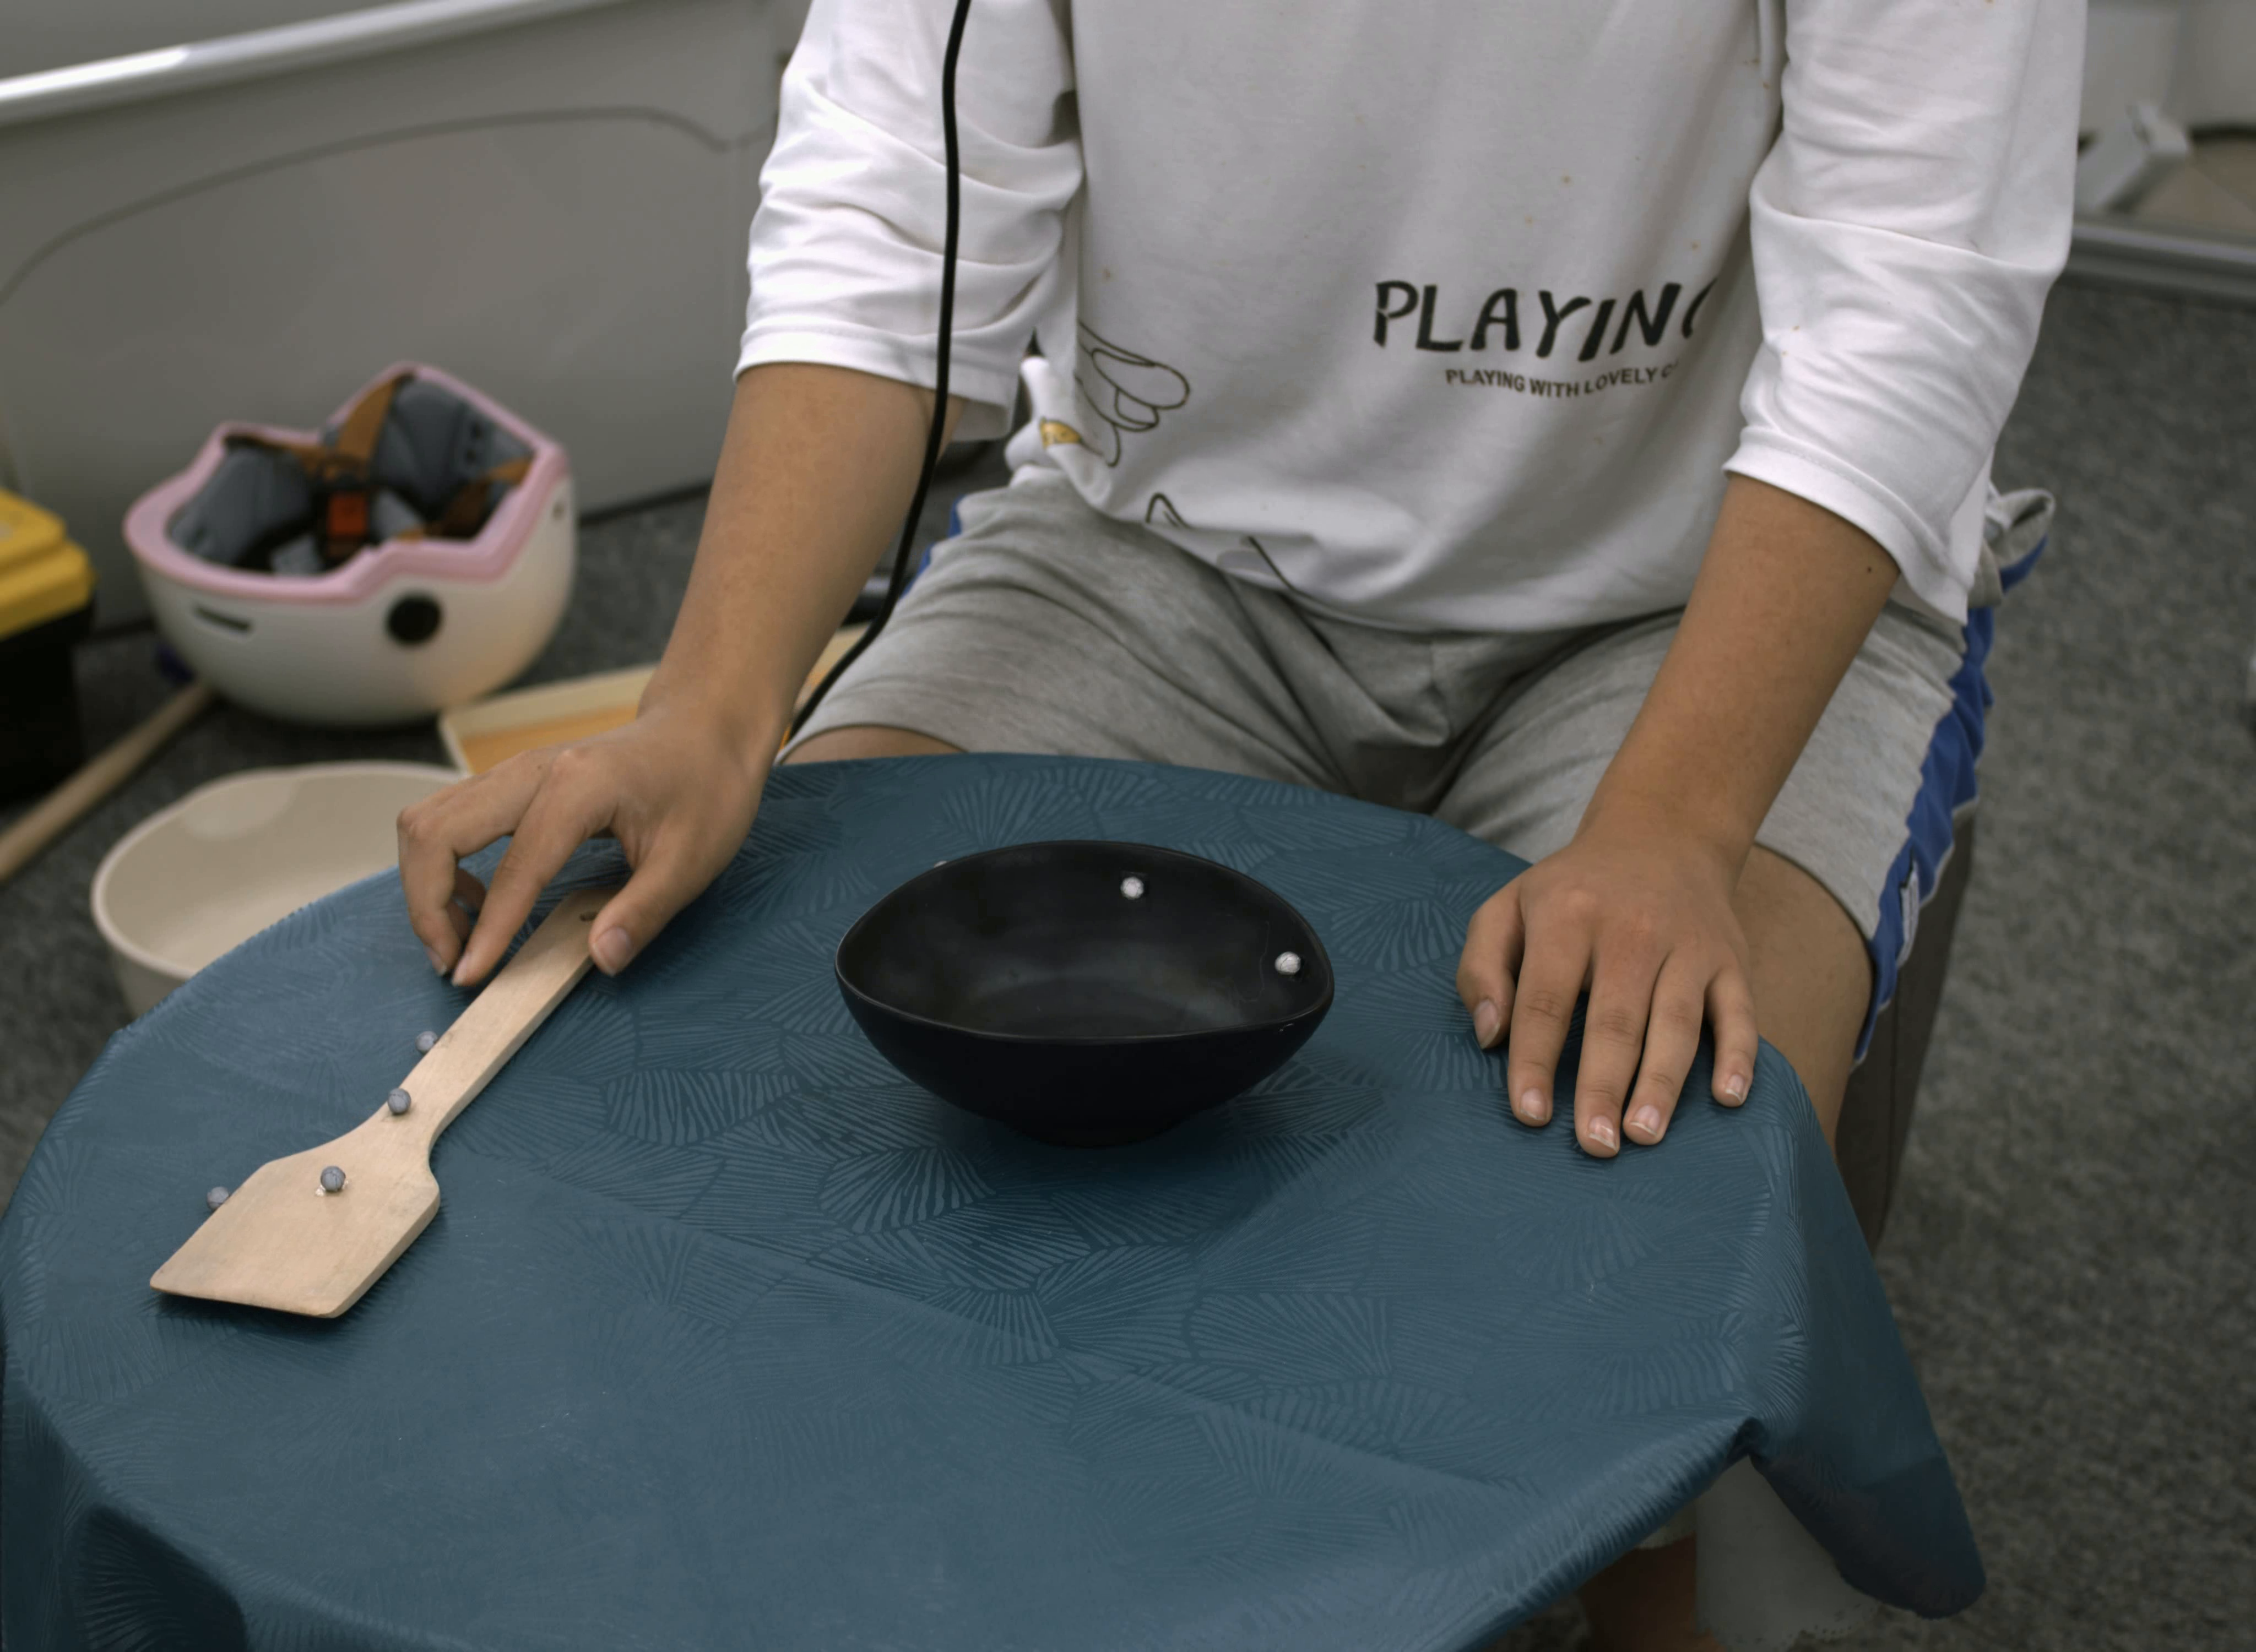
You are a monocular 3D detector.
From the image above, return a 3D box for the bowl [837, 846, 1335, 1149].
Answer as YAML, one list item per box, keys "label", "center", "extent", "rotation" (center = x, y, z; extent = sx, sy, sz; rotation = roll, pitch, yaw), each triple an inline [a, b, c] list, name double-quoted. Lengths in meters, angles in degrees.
- label: "bowl"
  center: [-0.014, 0.065, 1.907]
  extent: [0.169, 0.066, 0.139]
  rotation: [3, 27, 6]

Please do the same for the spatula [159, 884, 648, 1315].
- label: "spatula"
  center: [-0.236, 0.090, 1.936]
  extent: [0.072, 0.010, 0.298]
  rotation: [6, 29, 19]
